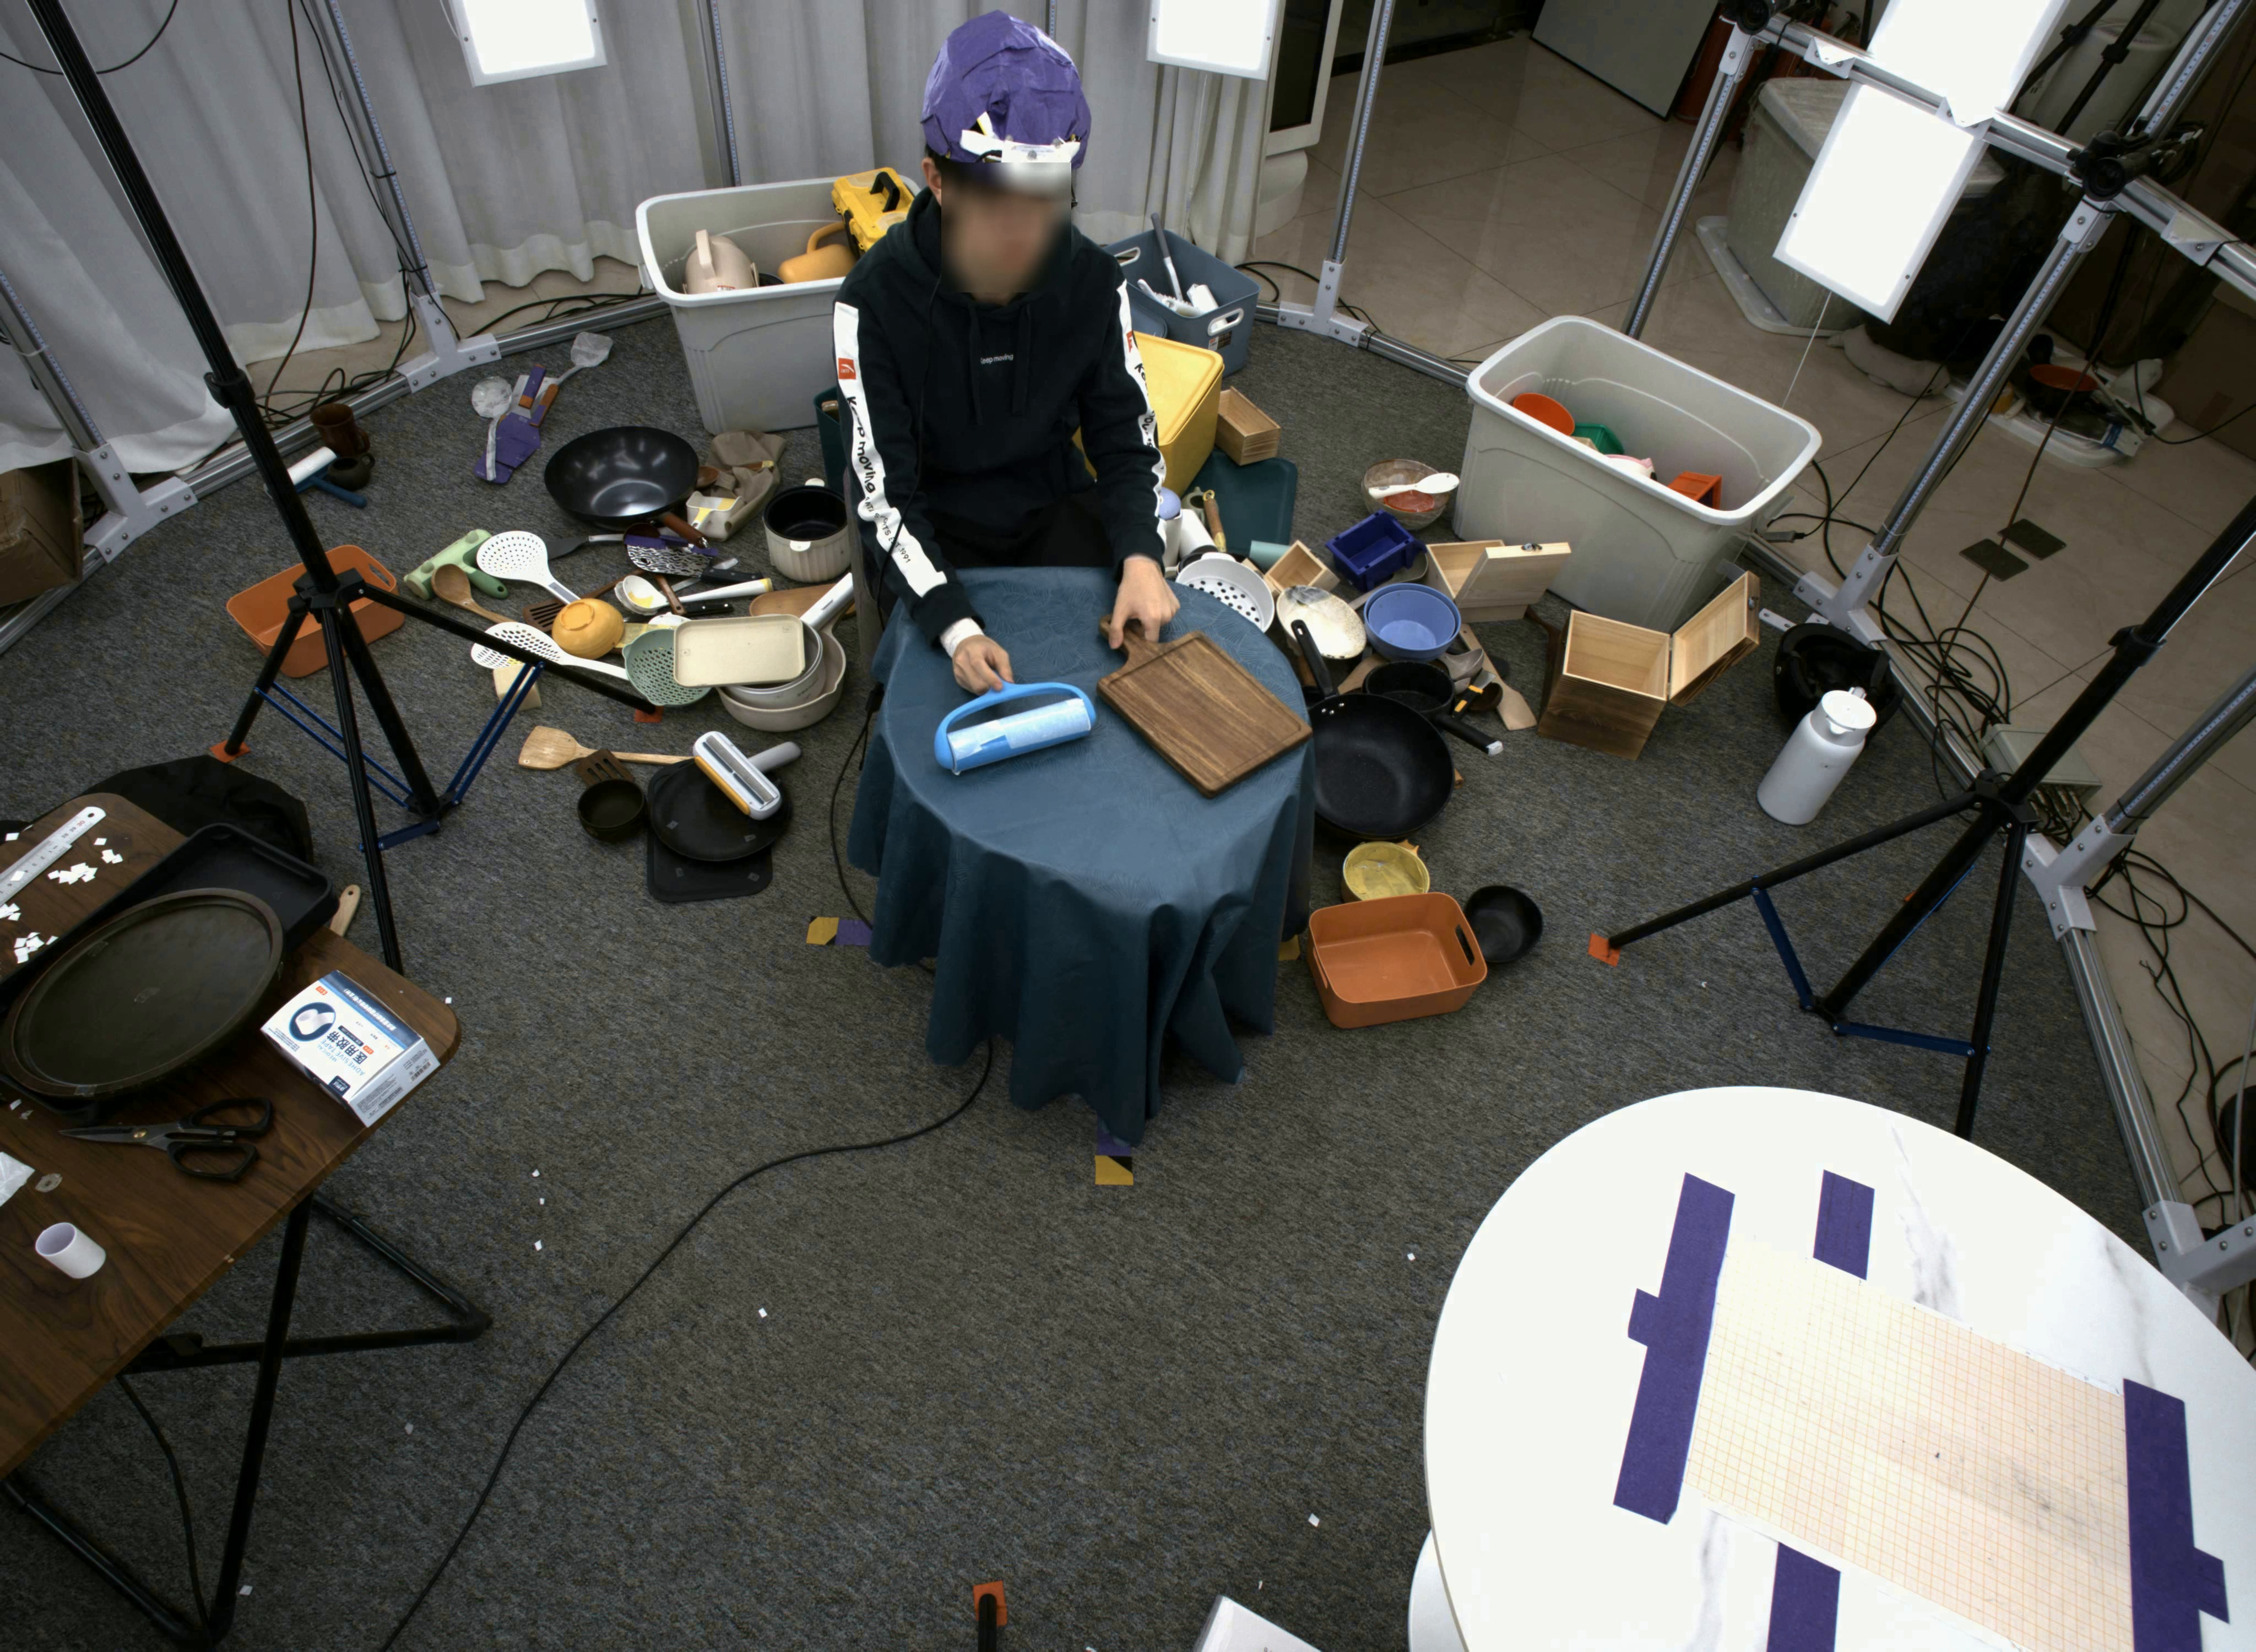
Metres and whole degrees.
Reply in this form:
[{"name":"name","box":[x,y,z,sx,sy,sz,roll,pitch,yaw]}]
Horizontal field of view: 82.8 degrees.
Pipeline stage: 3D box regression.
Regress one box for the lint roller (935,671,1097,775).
[{"name":"lint roller","box":[-0.175,-0.166,1.762,0.229,0.066,0.184,-20,55,-18]}]

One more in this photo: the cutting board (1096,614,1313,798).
[{"name":"cutting board","box":[0.075,-0.195,1.821,0.202,0.022,0.358,-30,59,-27]}]
